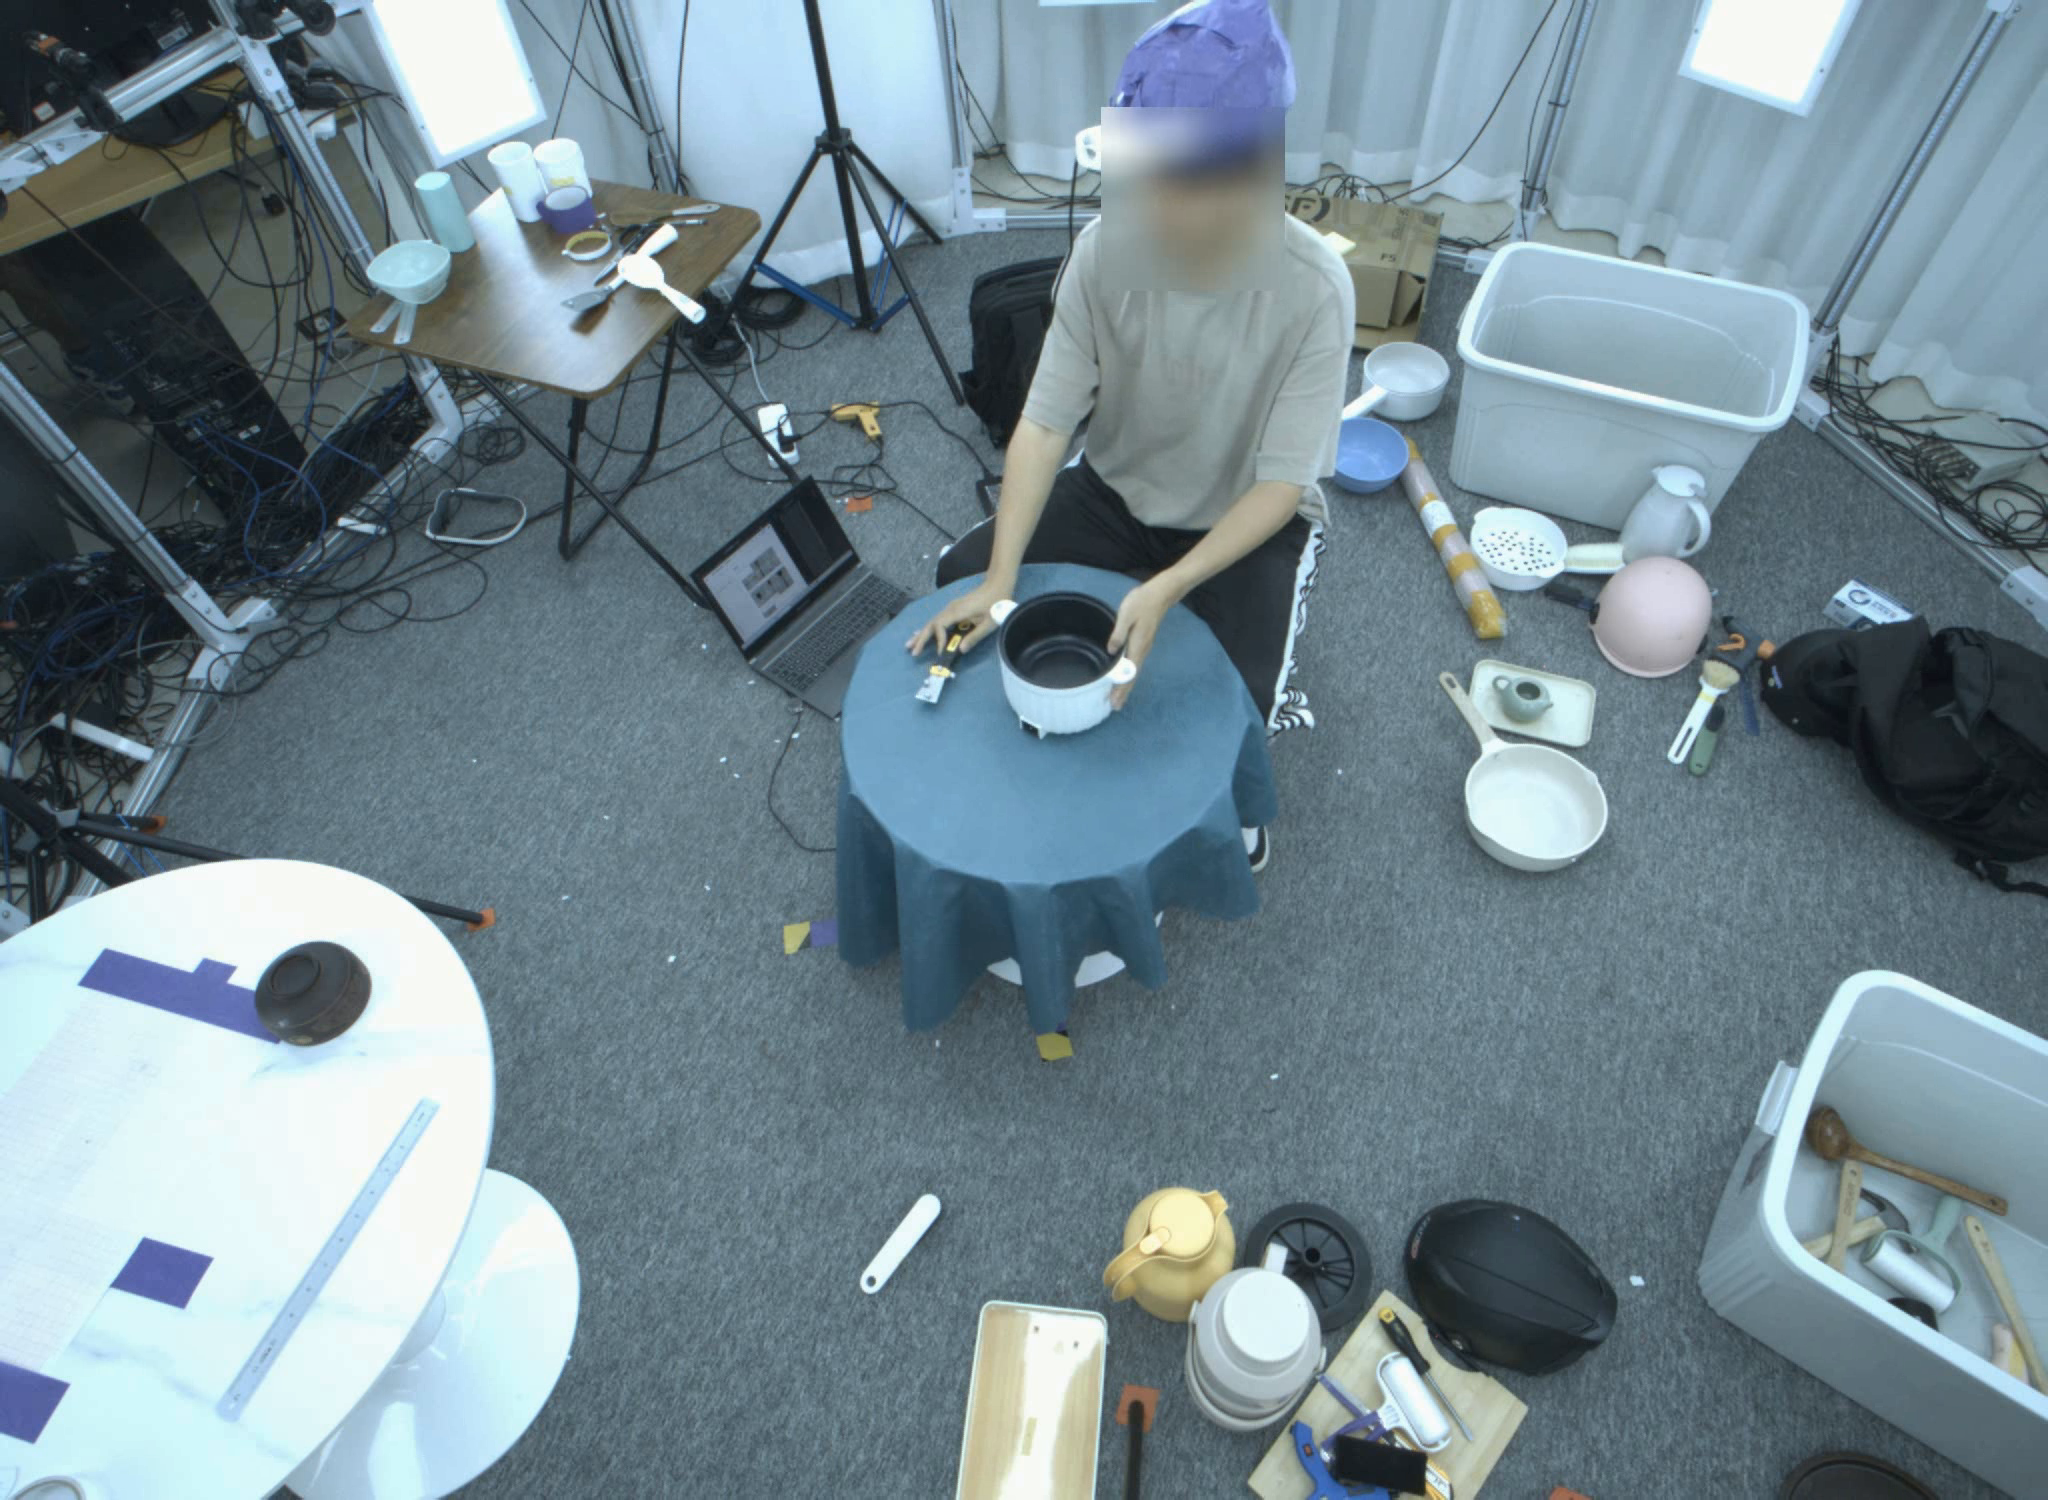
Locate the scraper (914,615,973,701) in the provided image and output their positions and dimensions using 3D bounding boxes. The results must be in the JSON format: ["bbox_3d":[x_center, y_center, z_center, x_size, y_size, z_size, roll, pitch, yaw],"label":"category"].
[{"bbox_3d":[-0.119,-0.141,1.859,0.038,0.015,0.170,12,57,18],"label":"scraper"}]

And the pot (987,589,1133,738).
[{"bbox_3d":[0.056,-0.125,1.786,0.237,0.144,0.191,29,65,20],"label":"pot"}]
